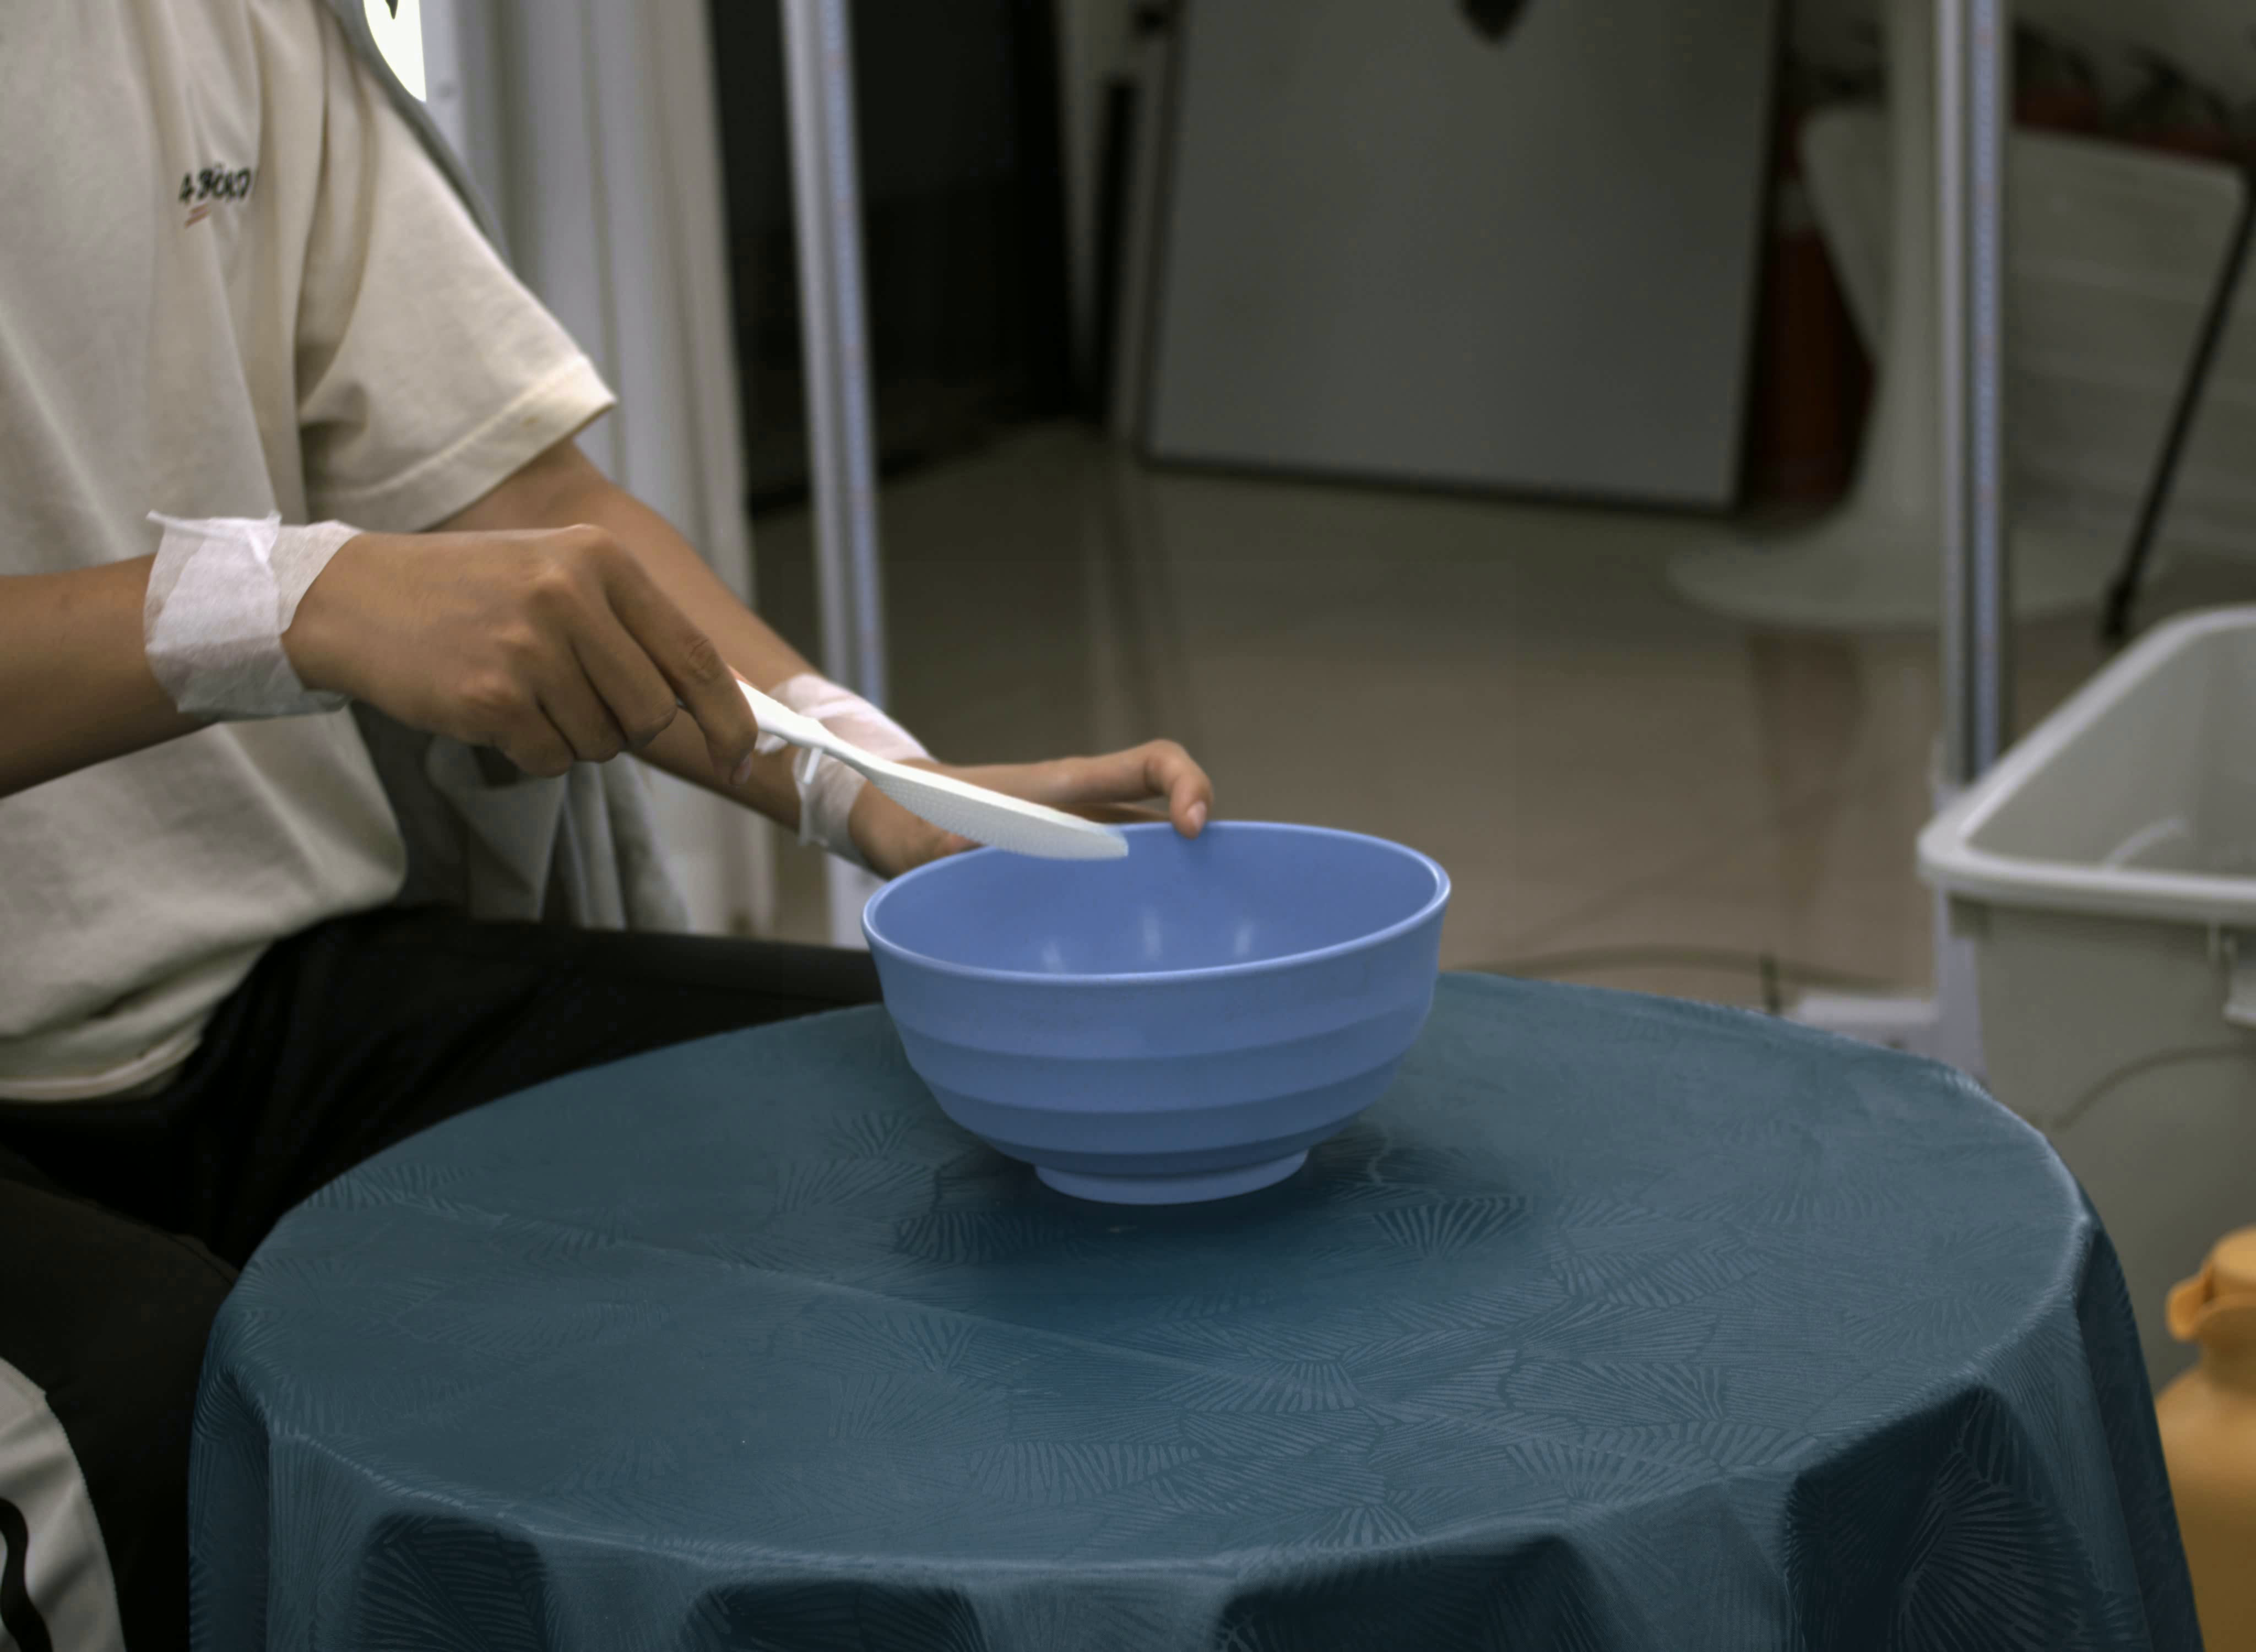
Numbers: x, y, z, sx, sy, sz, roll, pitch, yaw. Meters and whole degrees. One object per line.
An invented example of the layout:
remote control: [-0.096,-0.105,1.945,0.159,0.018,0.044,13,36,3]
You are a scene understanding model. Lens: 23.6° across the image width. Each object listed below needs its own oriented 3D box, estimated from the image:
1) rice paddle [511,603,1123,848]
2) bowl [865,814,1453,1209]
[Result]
rice paddle: [-0.094,-0.027,1.710,0.201,0.030,0.069,17,4,-15]
bowl: [0.012,0.067,1.789,0.194,0.096,0.197,-3,15,0]
